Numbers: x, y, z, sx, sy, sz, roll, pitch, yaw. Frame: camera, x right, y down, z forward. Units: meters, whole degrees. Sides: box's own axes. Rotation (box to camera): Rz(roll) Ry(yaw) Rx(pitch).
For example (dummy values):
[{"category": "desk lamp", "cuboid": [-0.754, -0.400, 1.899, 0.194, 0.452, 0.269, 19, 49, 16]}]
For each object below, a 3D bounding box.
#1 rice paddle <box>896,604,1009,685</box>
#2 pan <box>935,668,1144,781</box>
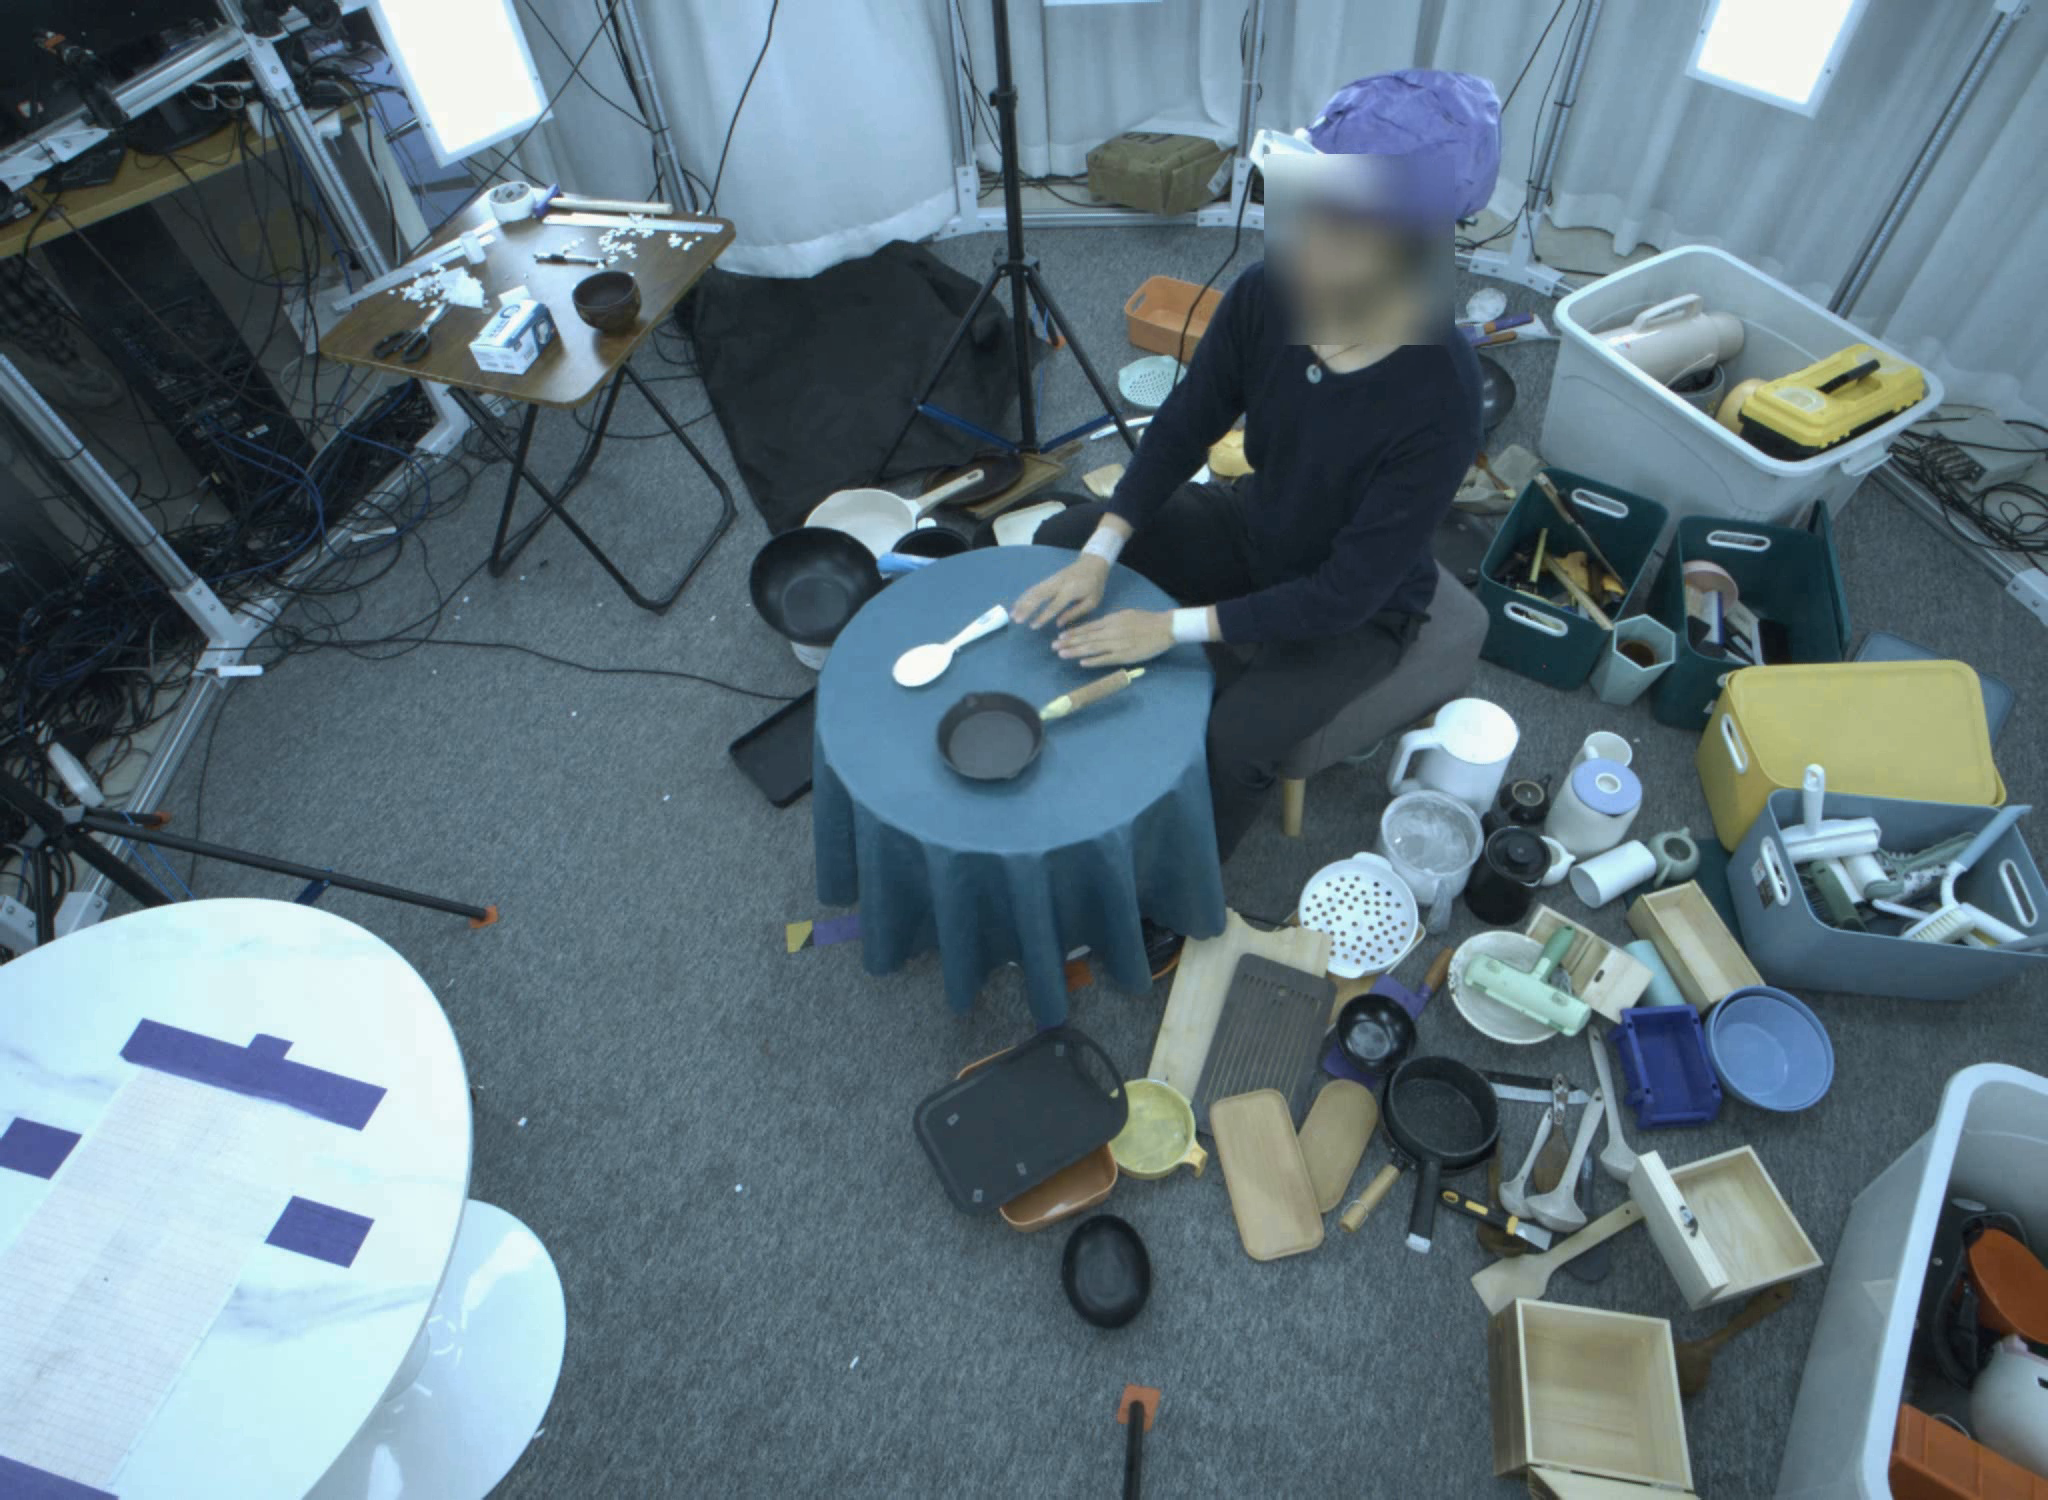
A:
[{"category": "rice paddle", "cuboid": [-0.111, -0.161, 1.887, 0.207, 0.030, 0.067, -35, 57, -21]}, {"category": "pan", "cuboid": [0.028, -0.049, 1.790, 0.326, 0.050, 0.166, -21, 56, -10]}]
